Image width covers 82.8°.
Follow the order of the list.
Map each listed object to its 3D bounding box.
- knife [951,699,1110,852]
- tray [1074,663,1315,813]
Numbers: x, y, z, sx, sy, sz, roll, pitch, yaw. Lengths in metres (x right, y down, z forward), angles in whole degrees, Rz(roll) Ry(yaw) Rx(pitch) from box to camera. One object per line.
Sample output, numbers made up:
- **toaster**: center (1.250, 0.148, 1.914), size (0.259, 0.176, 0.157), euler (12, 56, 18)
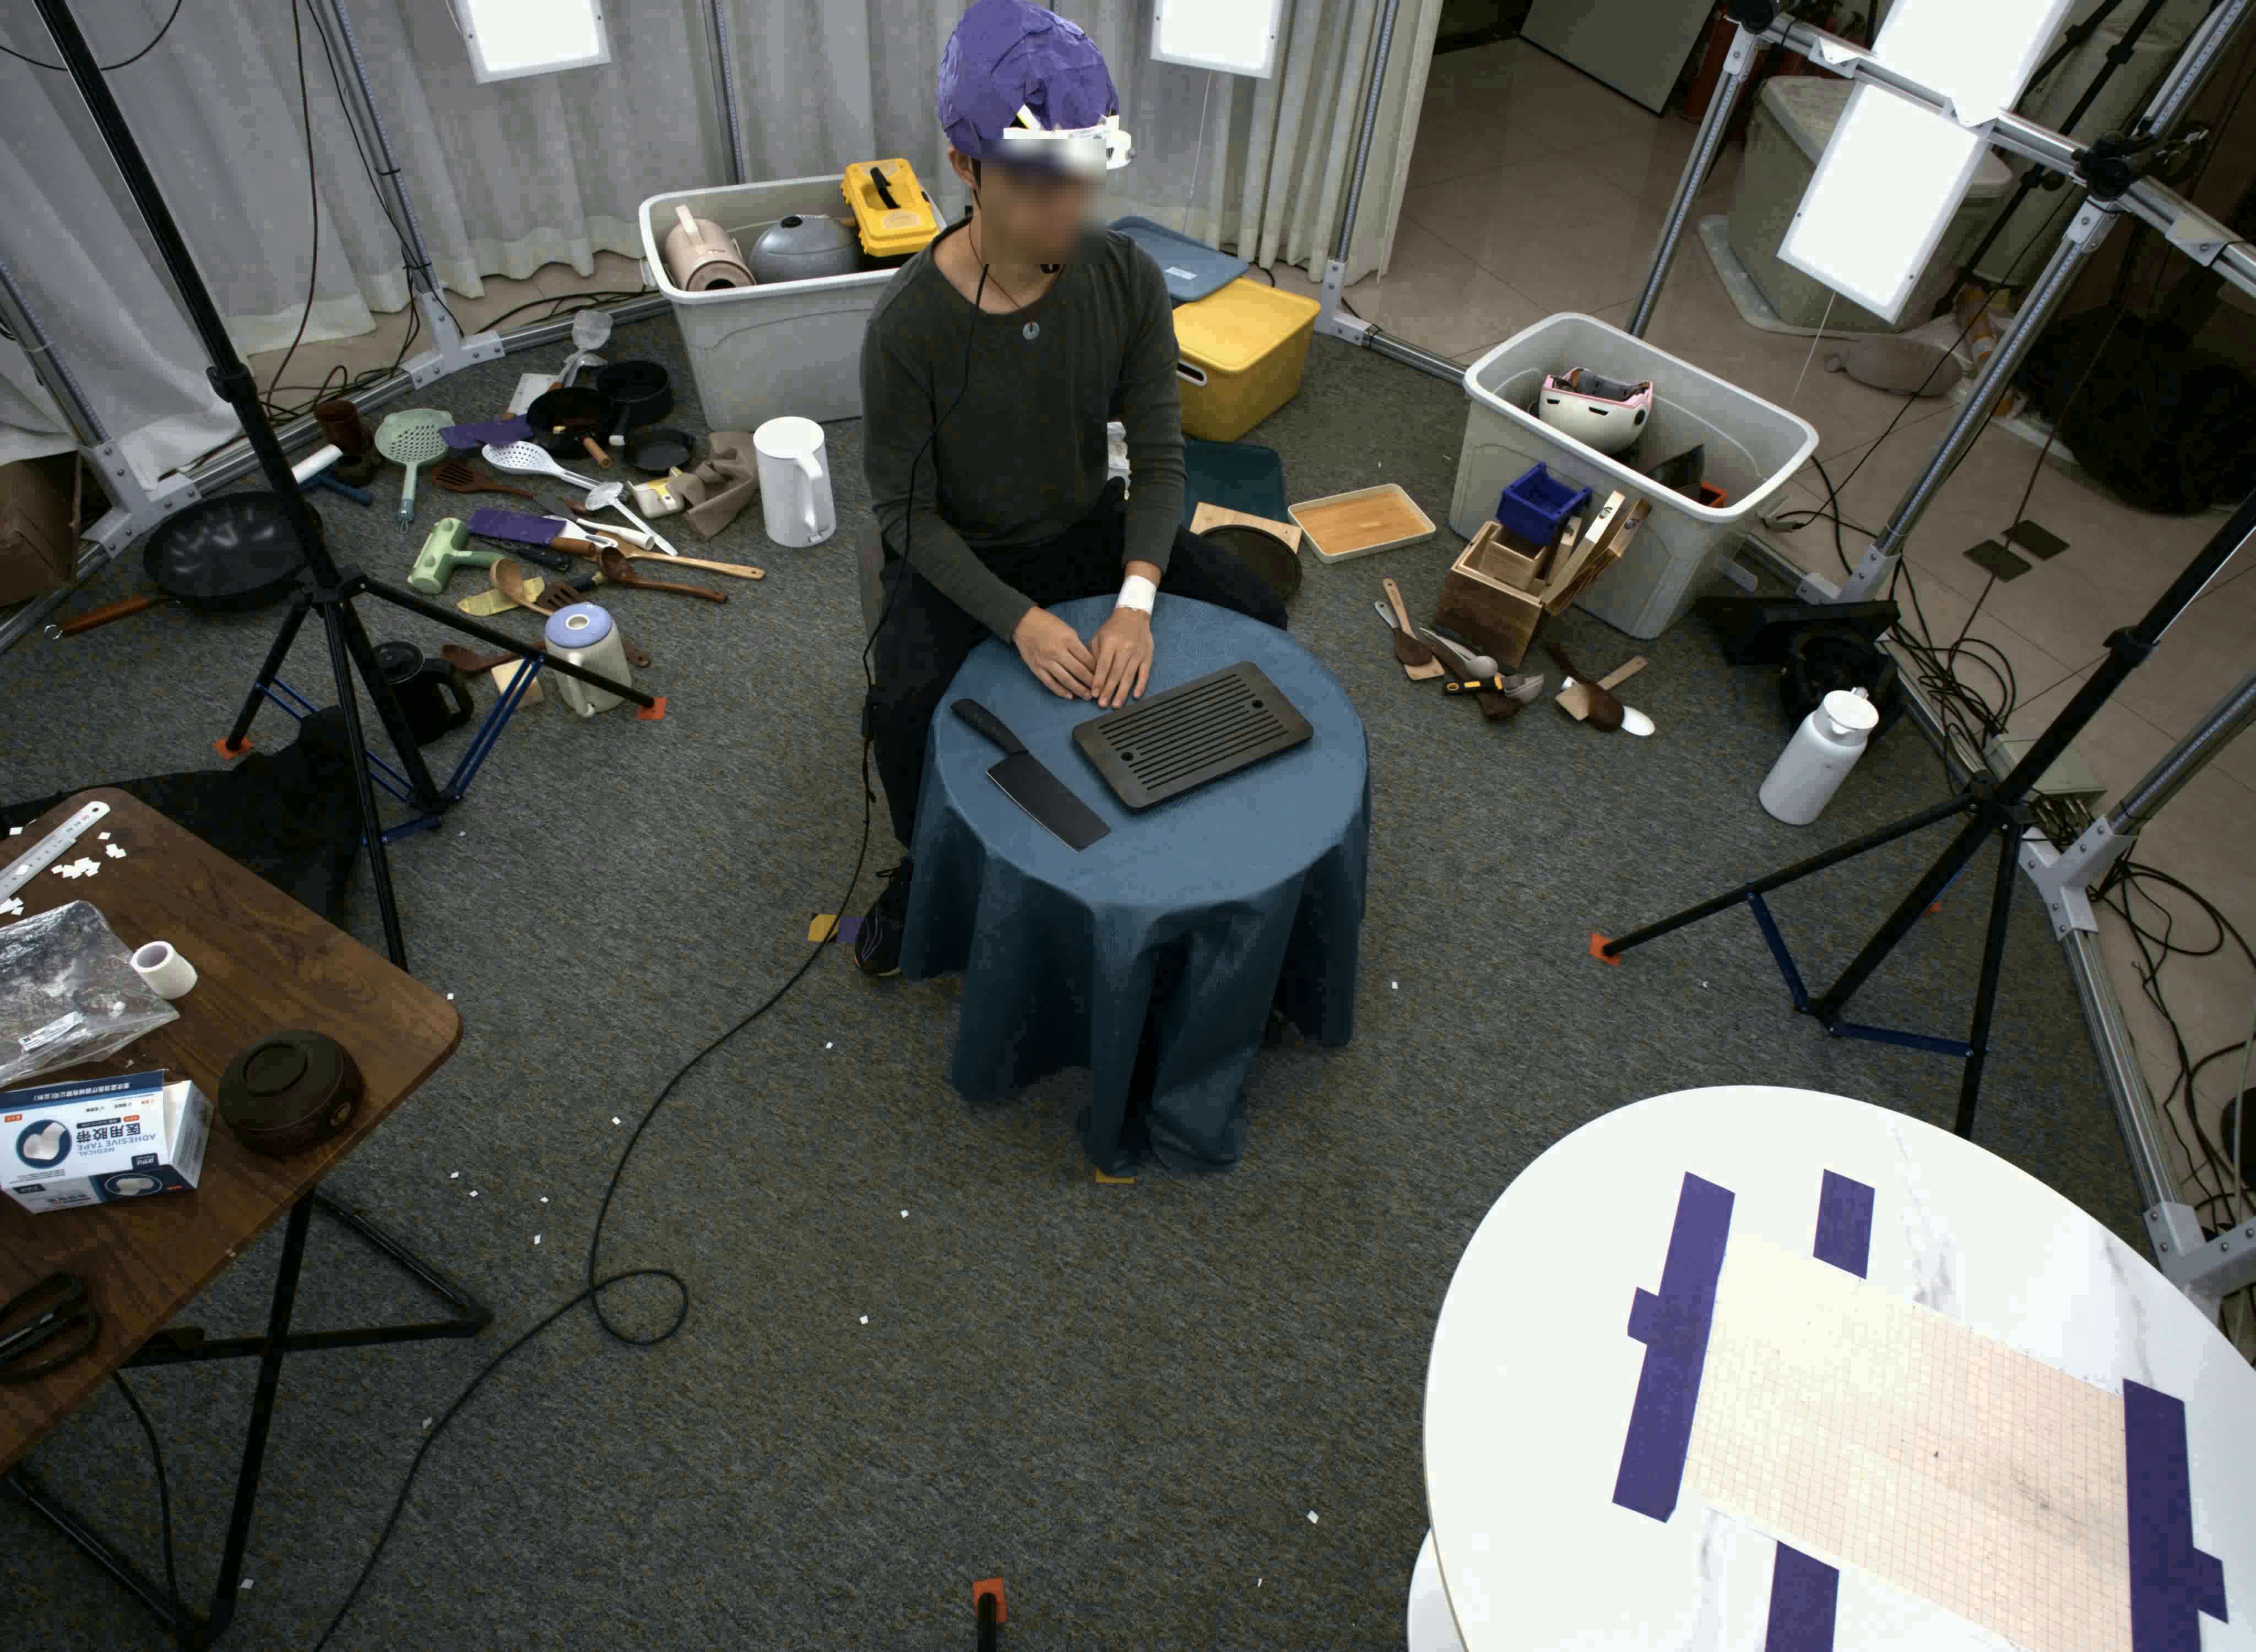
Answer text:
- **knife**: center (-0.142, -0.073, 1.712), size (0.081, 0.020, 0.308), euler (-29, 59, -24)
- **tray**: center (0.092, -0.125, 1.770), size (0.307, 0.018, 0.174), euler (-22, 53, -22)
